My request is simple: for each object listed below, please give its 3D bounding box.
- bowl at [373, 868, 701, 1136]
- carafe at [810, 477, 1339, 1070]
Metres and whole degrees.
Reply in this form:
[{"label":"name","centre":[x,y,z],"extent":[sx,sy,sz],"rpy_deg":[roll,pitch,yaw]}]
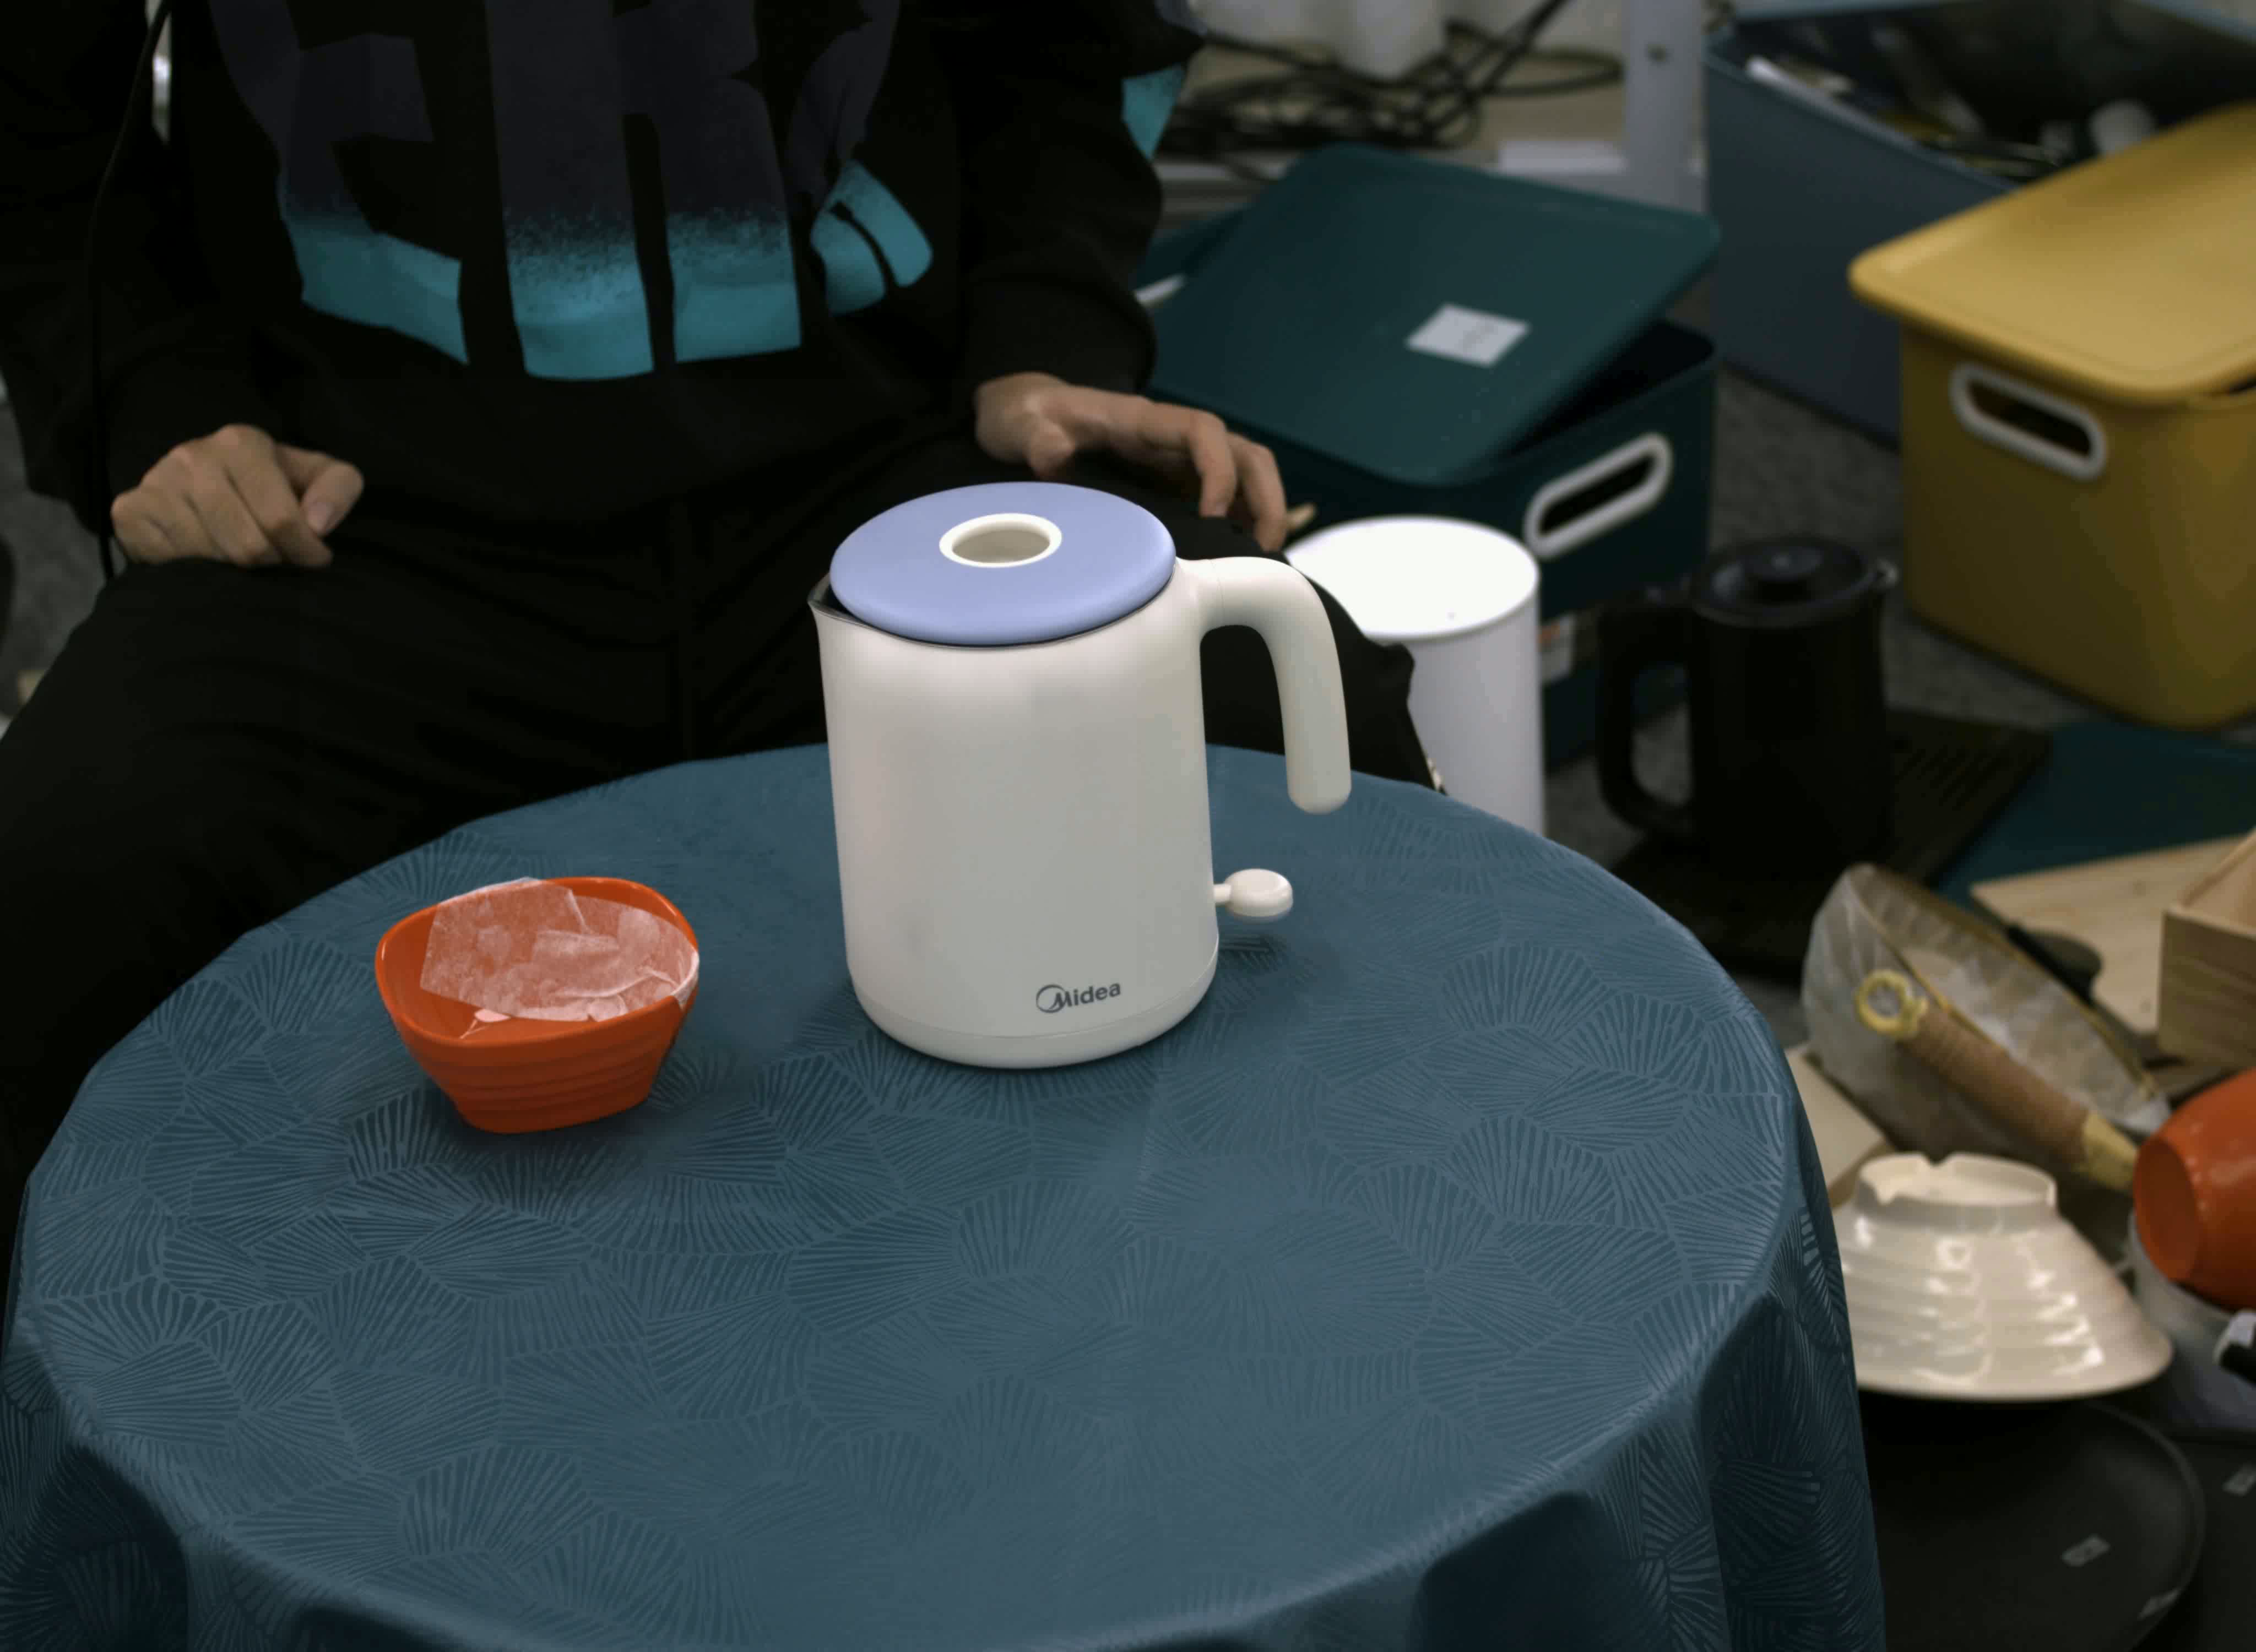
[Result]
[{"label":"bowl","centre":[-0.201,0.065,1.931],"extent":[0.118,0.051,0.121],"rpy_deg":[-3,30,2]},{"label":"carafe","centre":[-0.016,-0.022,1.957],"extent":[0.191,0.180,0.133],"rpy_deg":[-9,28,-16]}]
